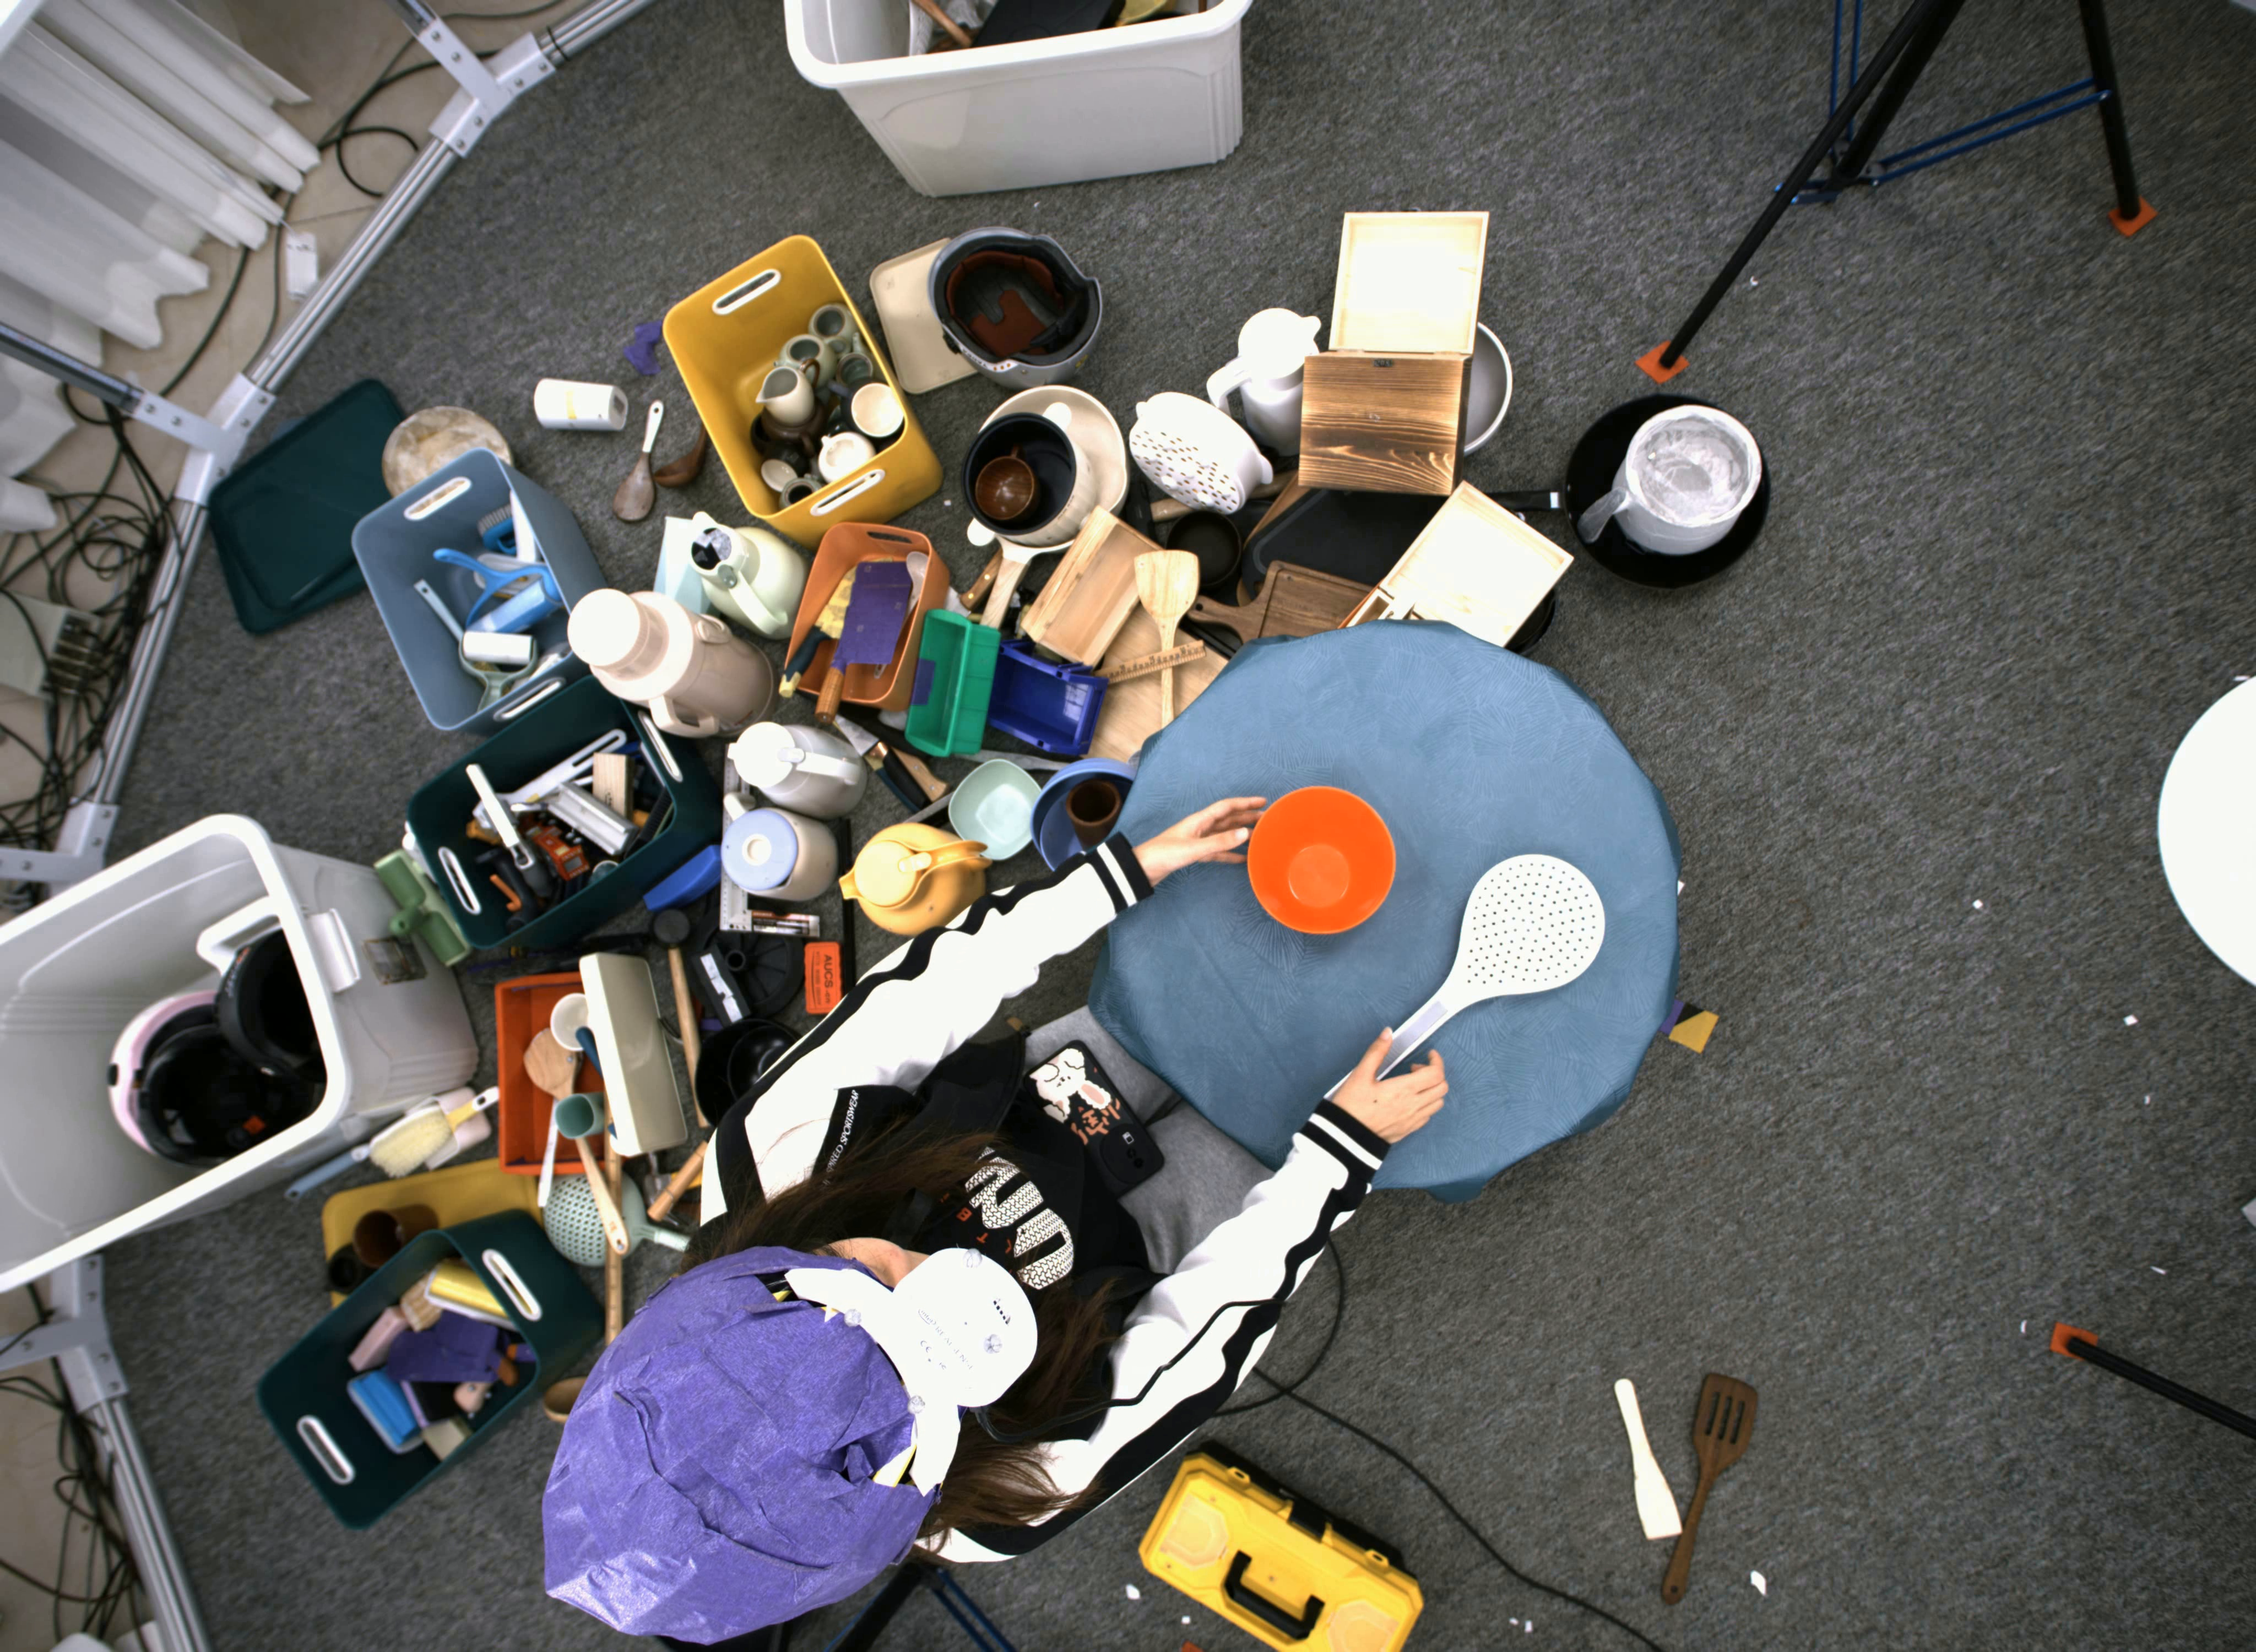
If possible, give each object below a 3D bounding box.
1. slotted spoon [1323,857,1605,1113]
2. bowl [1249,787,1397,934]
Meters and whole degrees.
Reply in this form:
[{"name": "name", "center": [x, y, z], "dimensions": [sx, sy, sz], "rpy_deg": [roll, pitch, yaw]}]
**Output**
[{"name": "slotted spoon", "center": [0.337, 0.171, 1.419], "dimensions": [0.351, 0.046, 0.135], "rpy_deg": [-43, 79, 6]}, {"name": "bowl", "center": [0.200, 0.038, 1.424], "dimensions": [0.148, 0.104, 0.147], "rpy_deg": [0, 88, 9]}]
